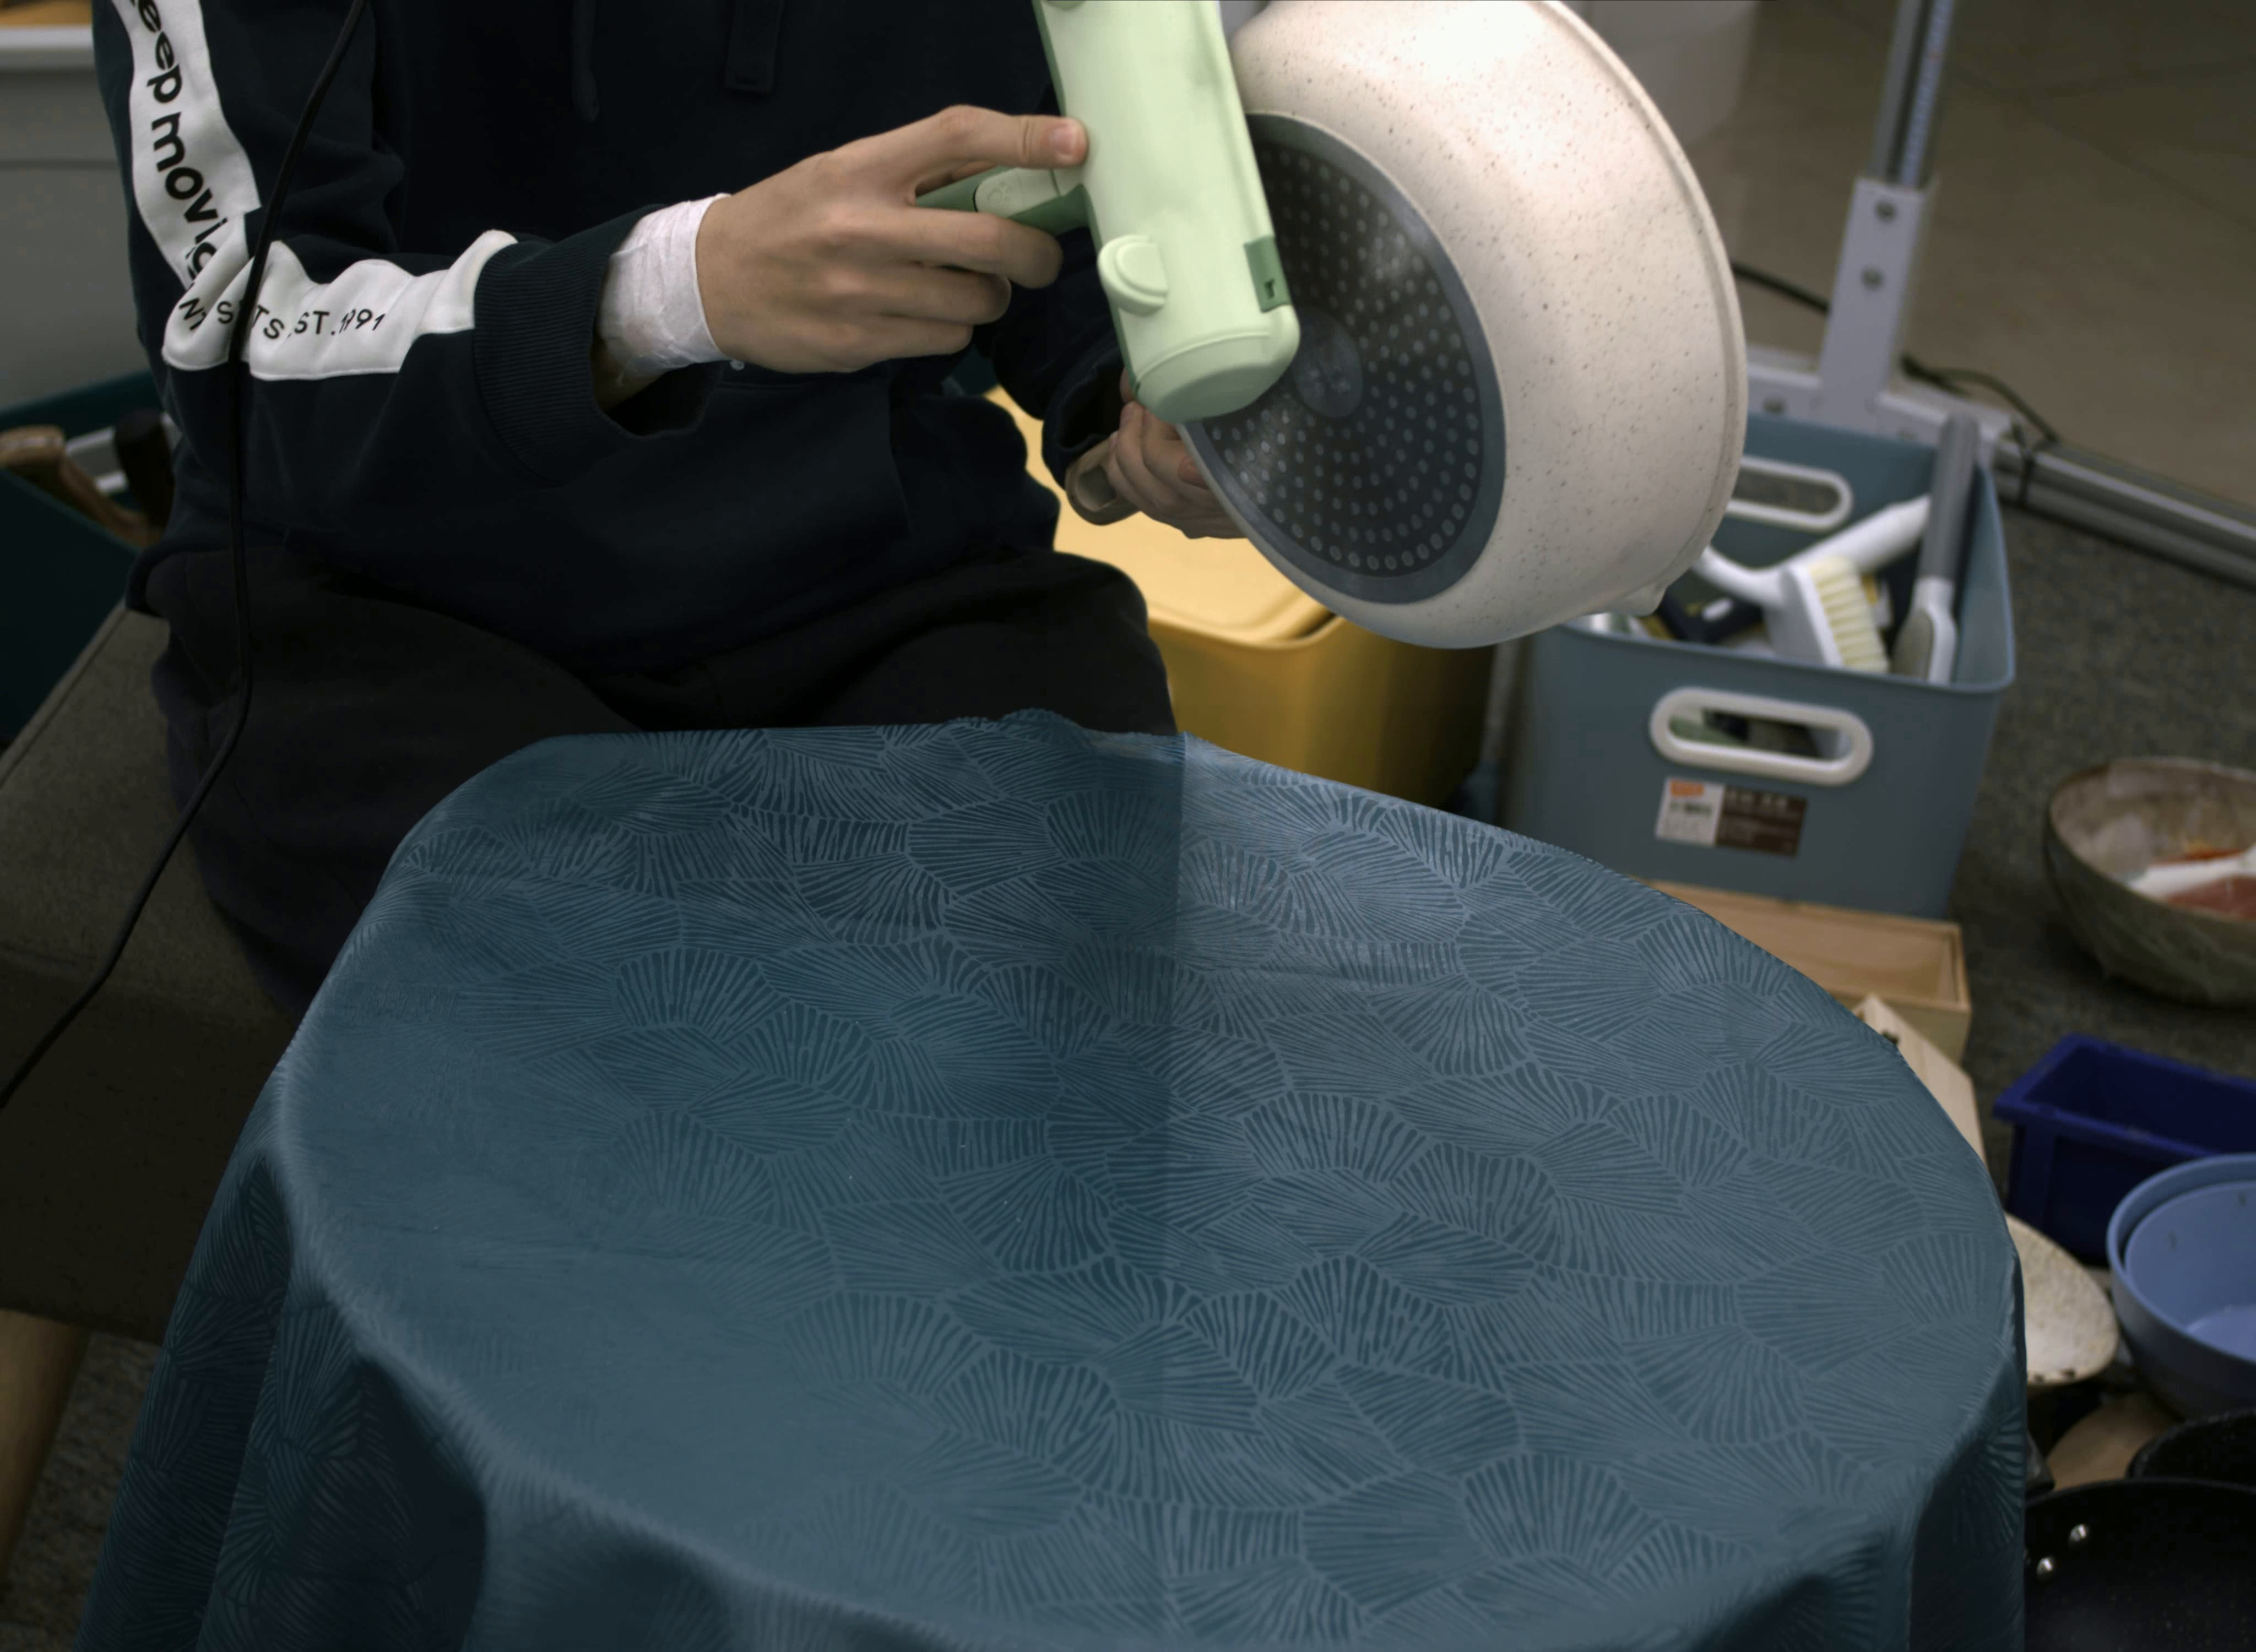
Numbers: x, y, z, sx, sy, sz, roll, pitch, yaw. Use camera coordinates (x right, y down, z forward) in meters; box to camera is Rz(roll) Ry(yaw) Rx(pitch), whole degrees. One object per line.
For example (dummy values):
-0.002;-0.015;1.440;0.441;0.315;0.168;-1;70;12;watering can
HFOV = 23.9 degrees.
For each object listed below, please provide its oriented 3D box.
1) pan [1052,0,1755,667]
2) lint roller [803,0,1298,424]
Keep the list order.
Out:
0.057;-0.154;1.943;0.101;0.263;0.436;-30;4;-32;pan
-0.044;-0.220;1.828;0.183;0.200;0.081;-20;-19;19;lint roller
